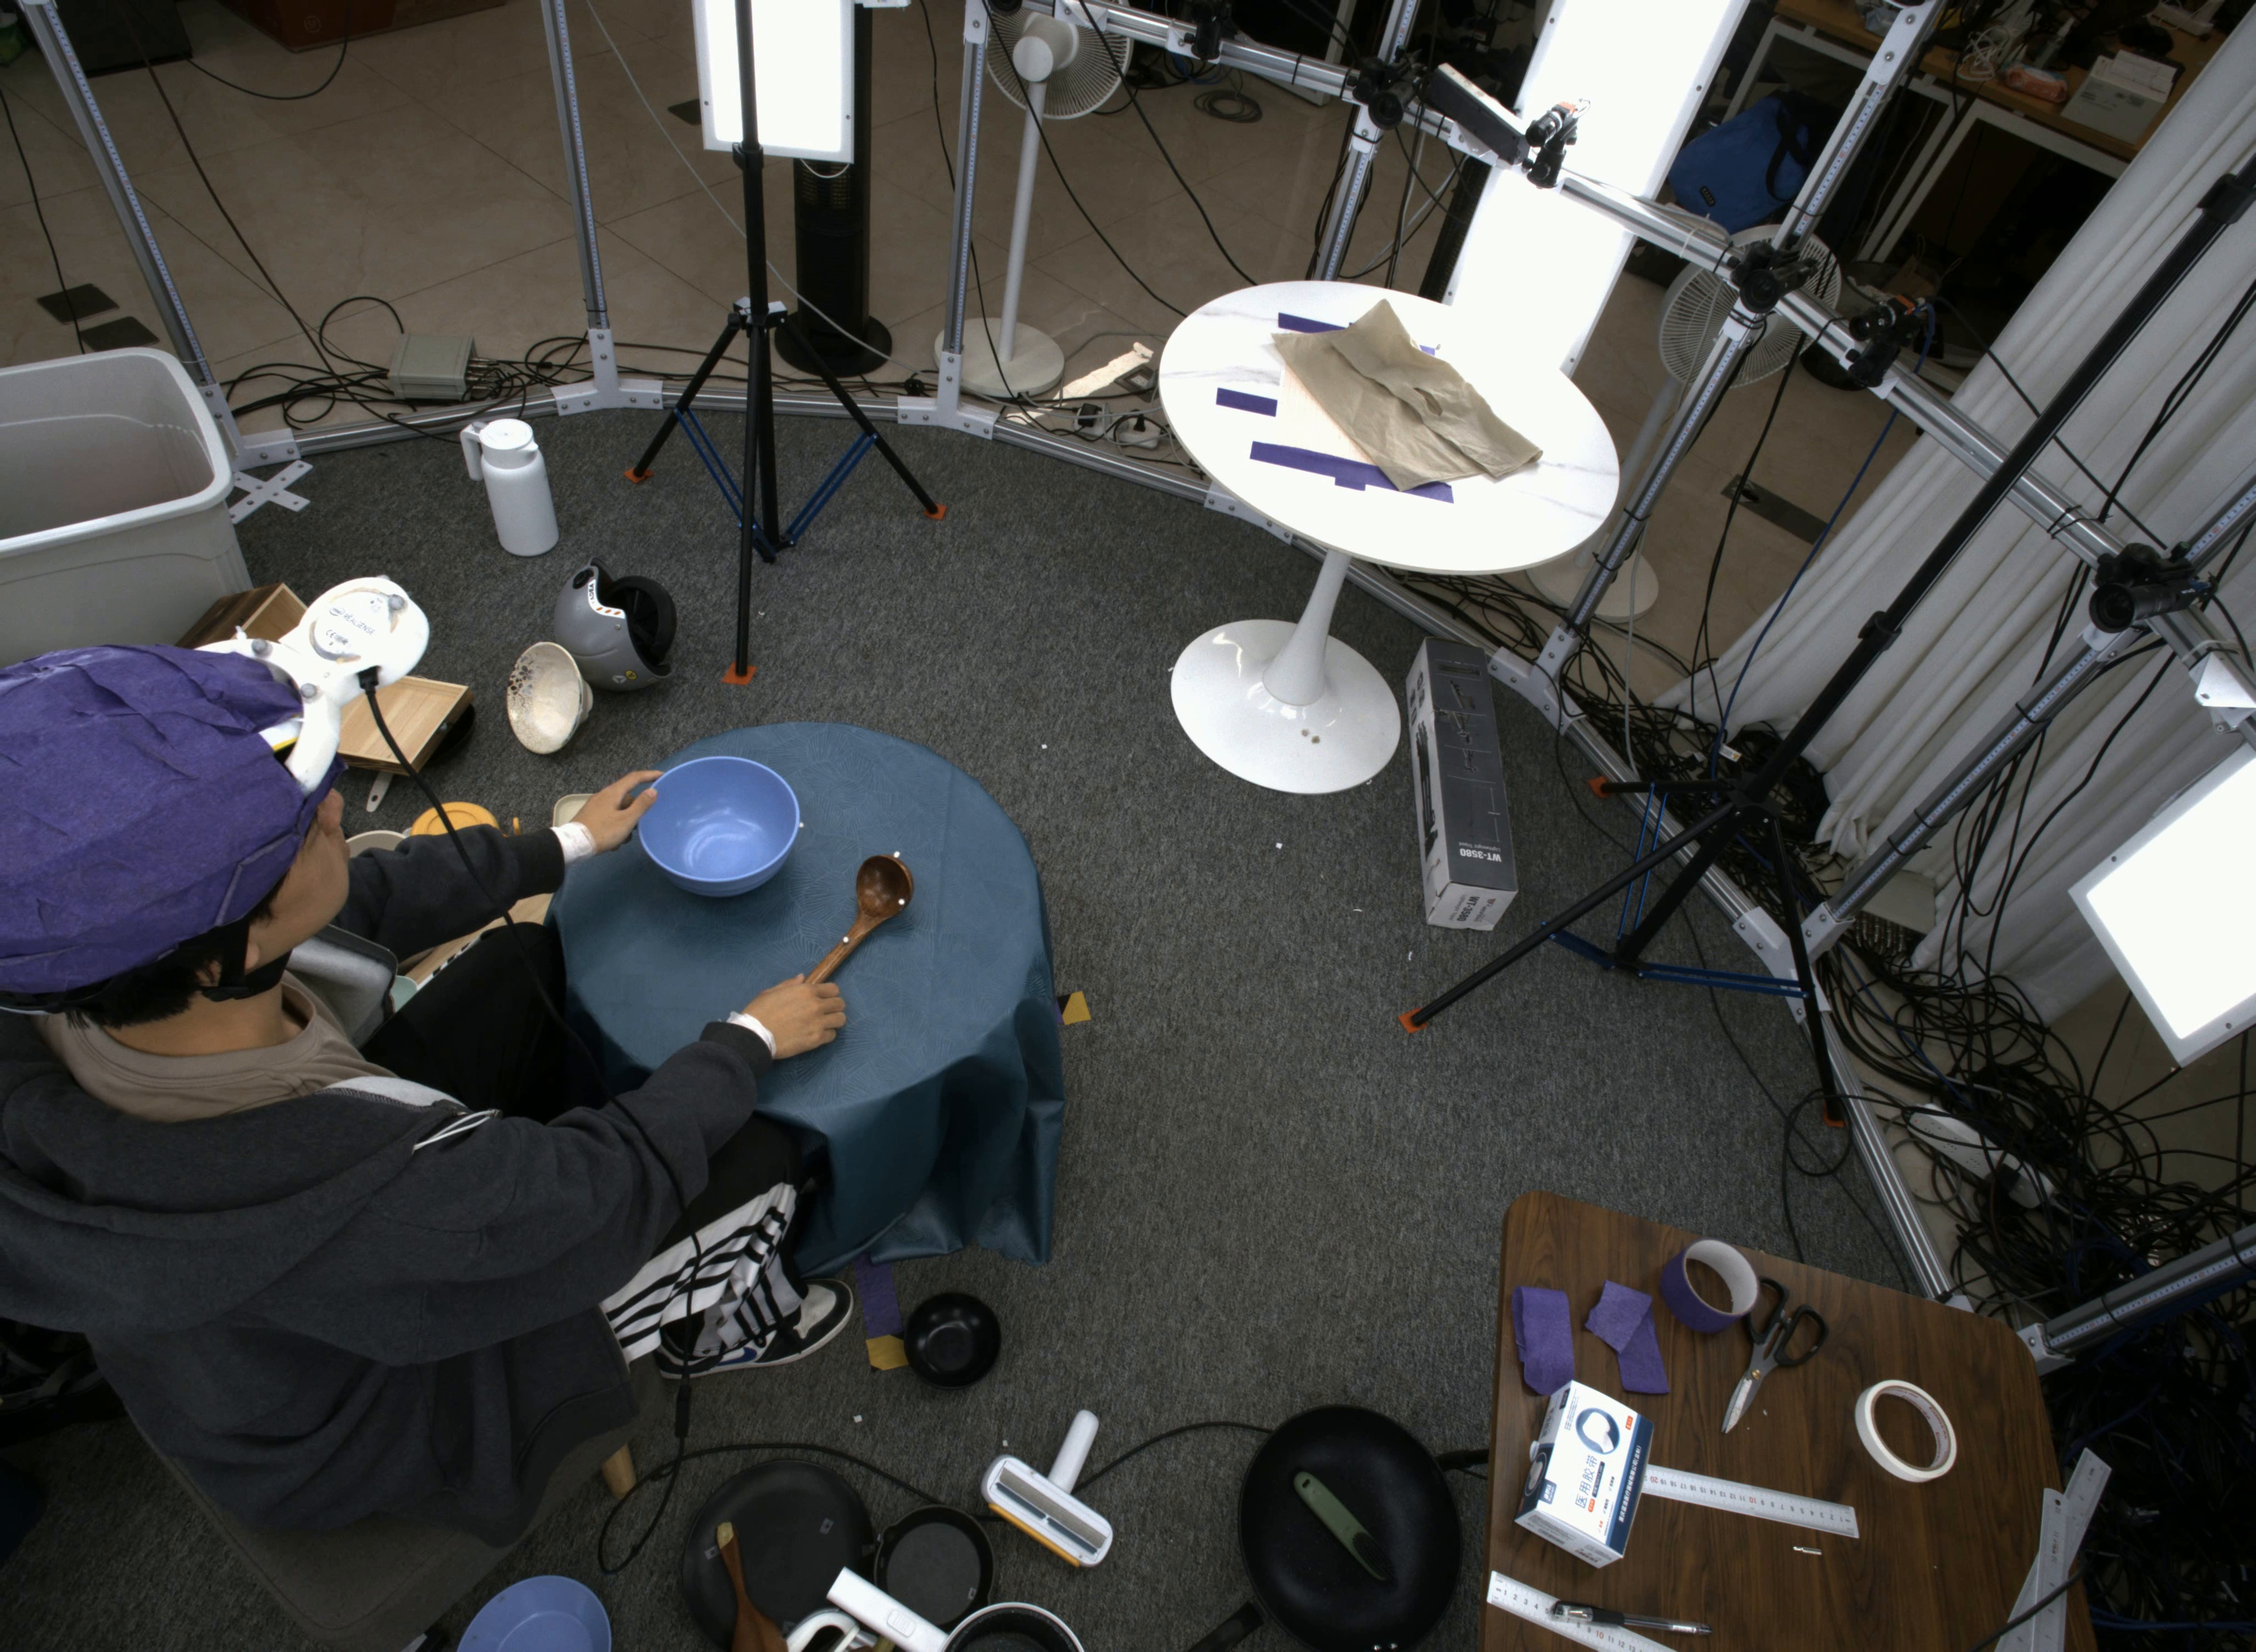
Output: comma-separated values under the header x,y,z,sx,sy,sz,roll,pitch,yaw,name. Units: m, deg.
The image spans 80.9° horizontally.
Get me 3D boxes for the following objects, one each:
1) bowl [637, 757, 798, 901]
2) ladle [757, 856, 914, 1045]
x,y,z,sx,sy,sz,roll,pitch,yaw,name
-0.515,0.018,1.631,0.196,0.097,0.193,7,53,-8,bowl
-0.360,0.144,1.586,0.079,0.079,0.273,23,51,20,ladle
